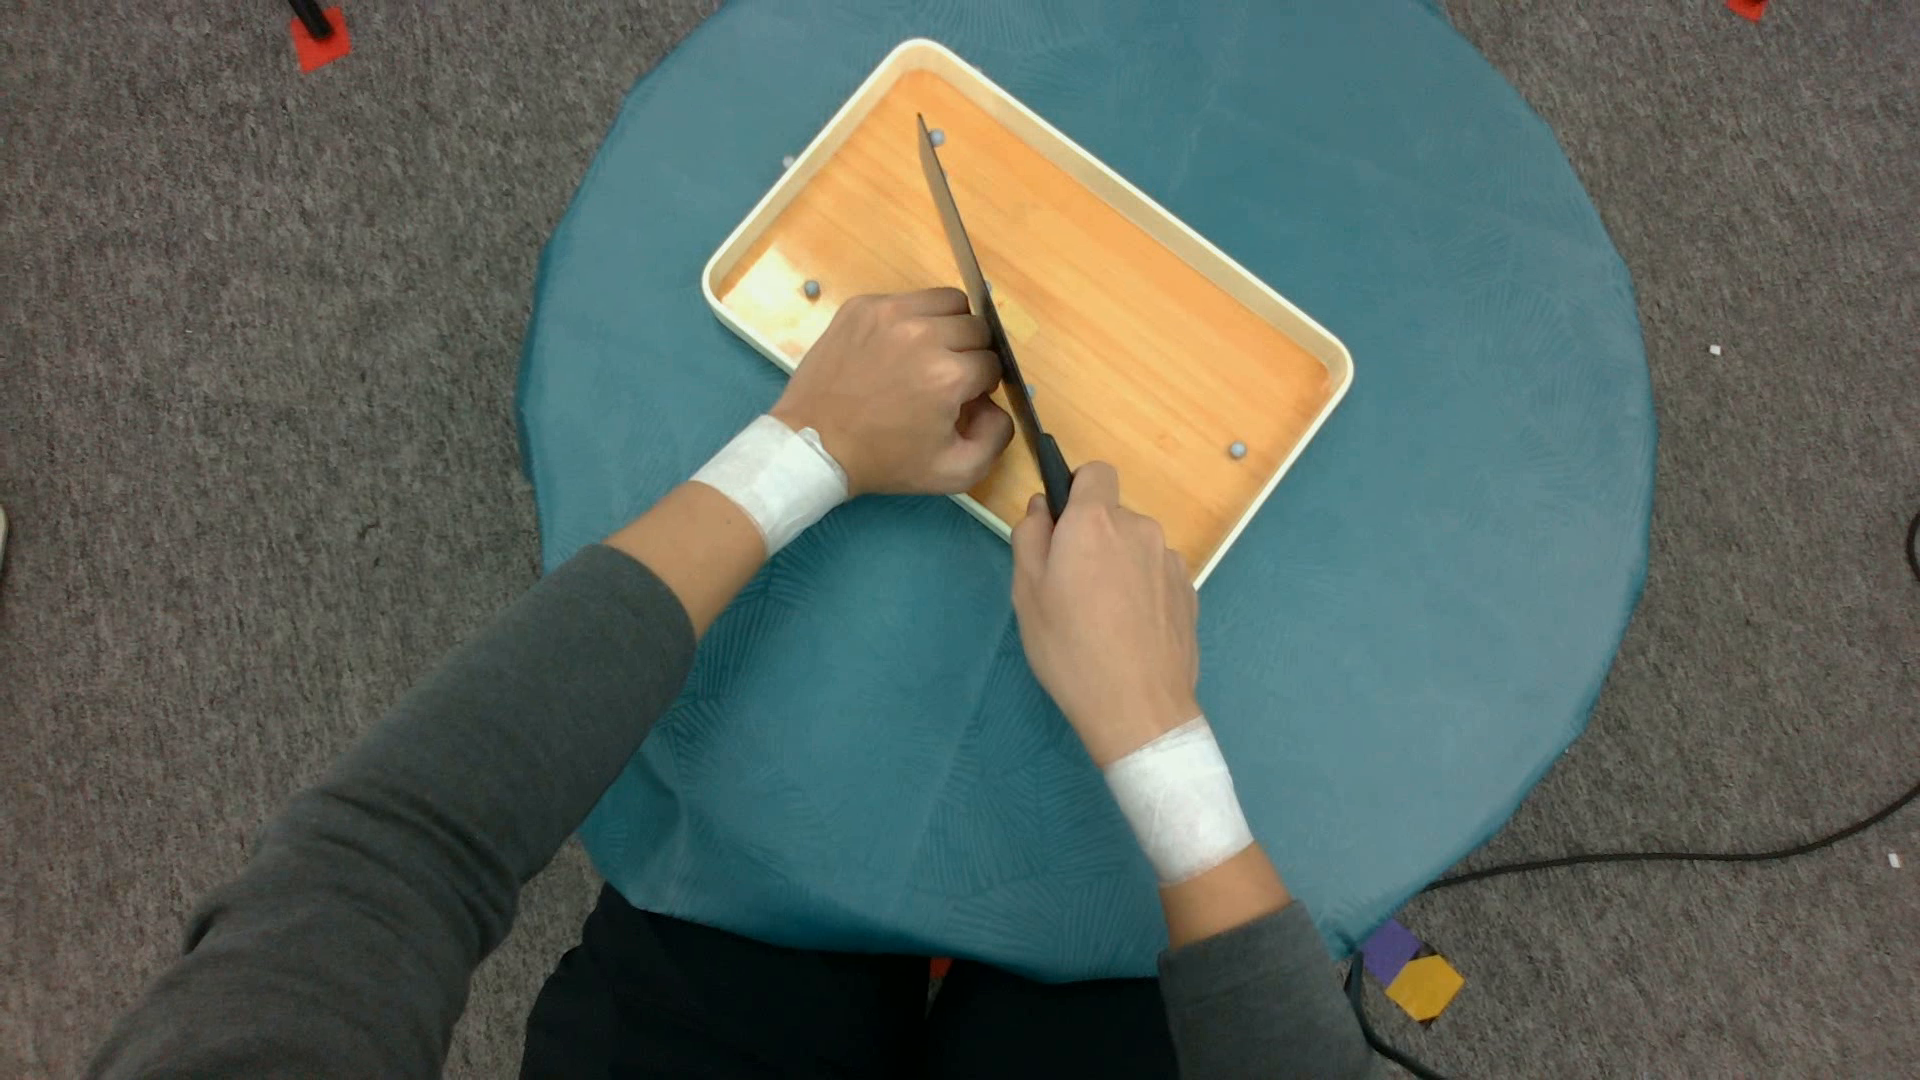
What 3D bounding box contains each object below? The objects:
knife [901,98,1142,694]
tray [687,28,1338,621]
[{"bbox_3d":[0.024,-0.070,0.663,0.021,0.081,0.302,-20,78,-3],"label":"knife"},{"bbox_3d":[0.028,-0.116,0.720,0.300,0.027,0.192,38,78,4],"label":"tray"}]
